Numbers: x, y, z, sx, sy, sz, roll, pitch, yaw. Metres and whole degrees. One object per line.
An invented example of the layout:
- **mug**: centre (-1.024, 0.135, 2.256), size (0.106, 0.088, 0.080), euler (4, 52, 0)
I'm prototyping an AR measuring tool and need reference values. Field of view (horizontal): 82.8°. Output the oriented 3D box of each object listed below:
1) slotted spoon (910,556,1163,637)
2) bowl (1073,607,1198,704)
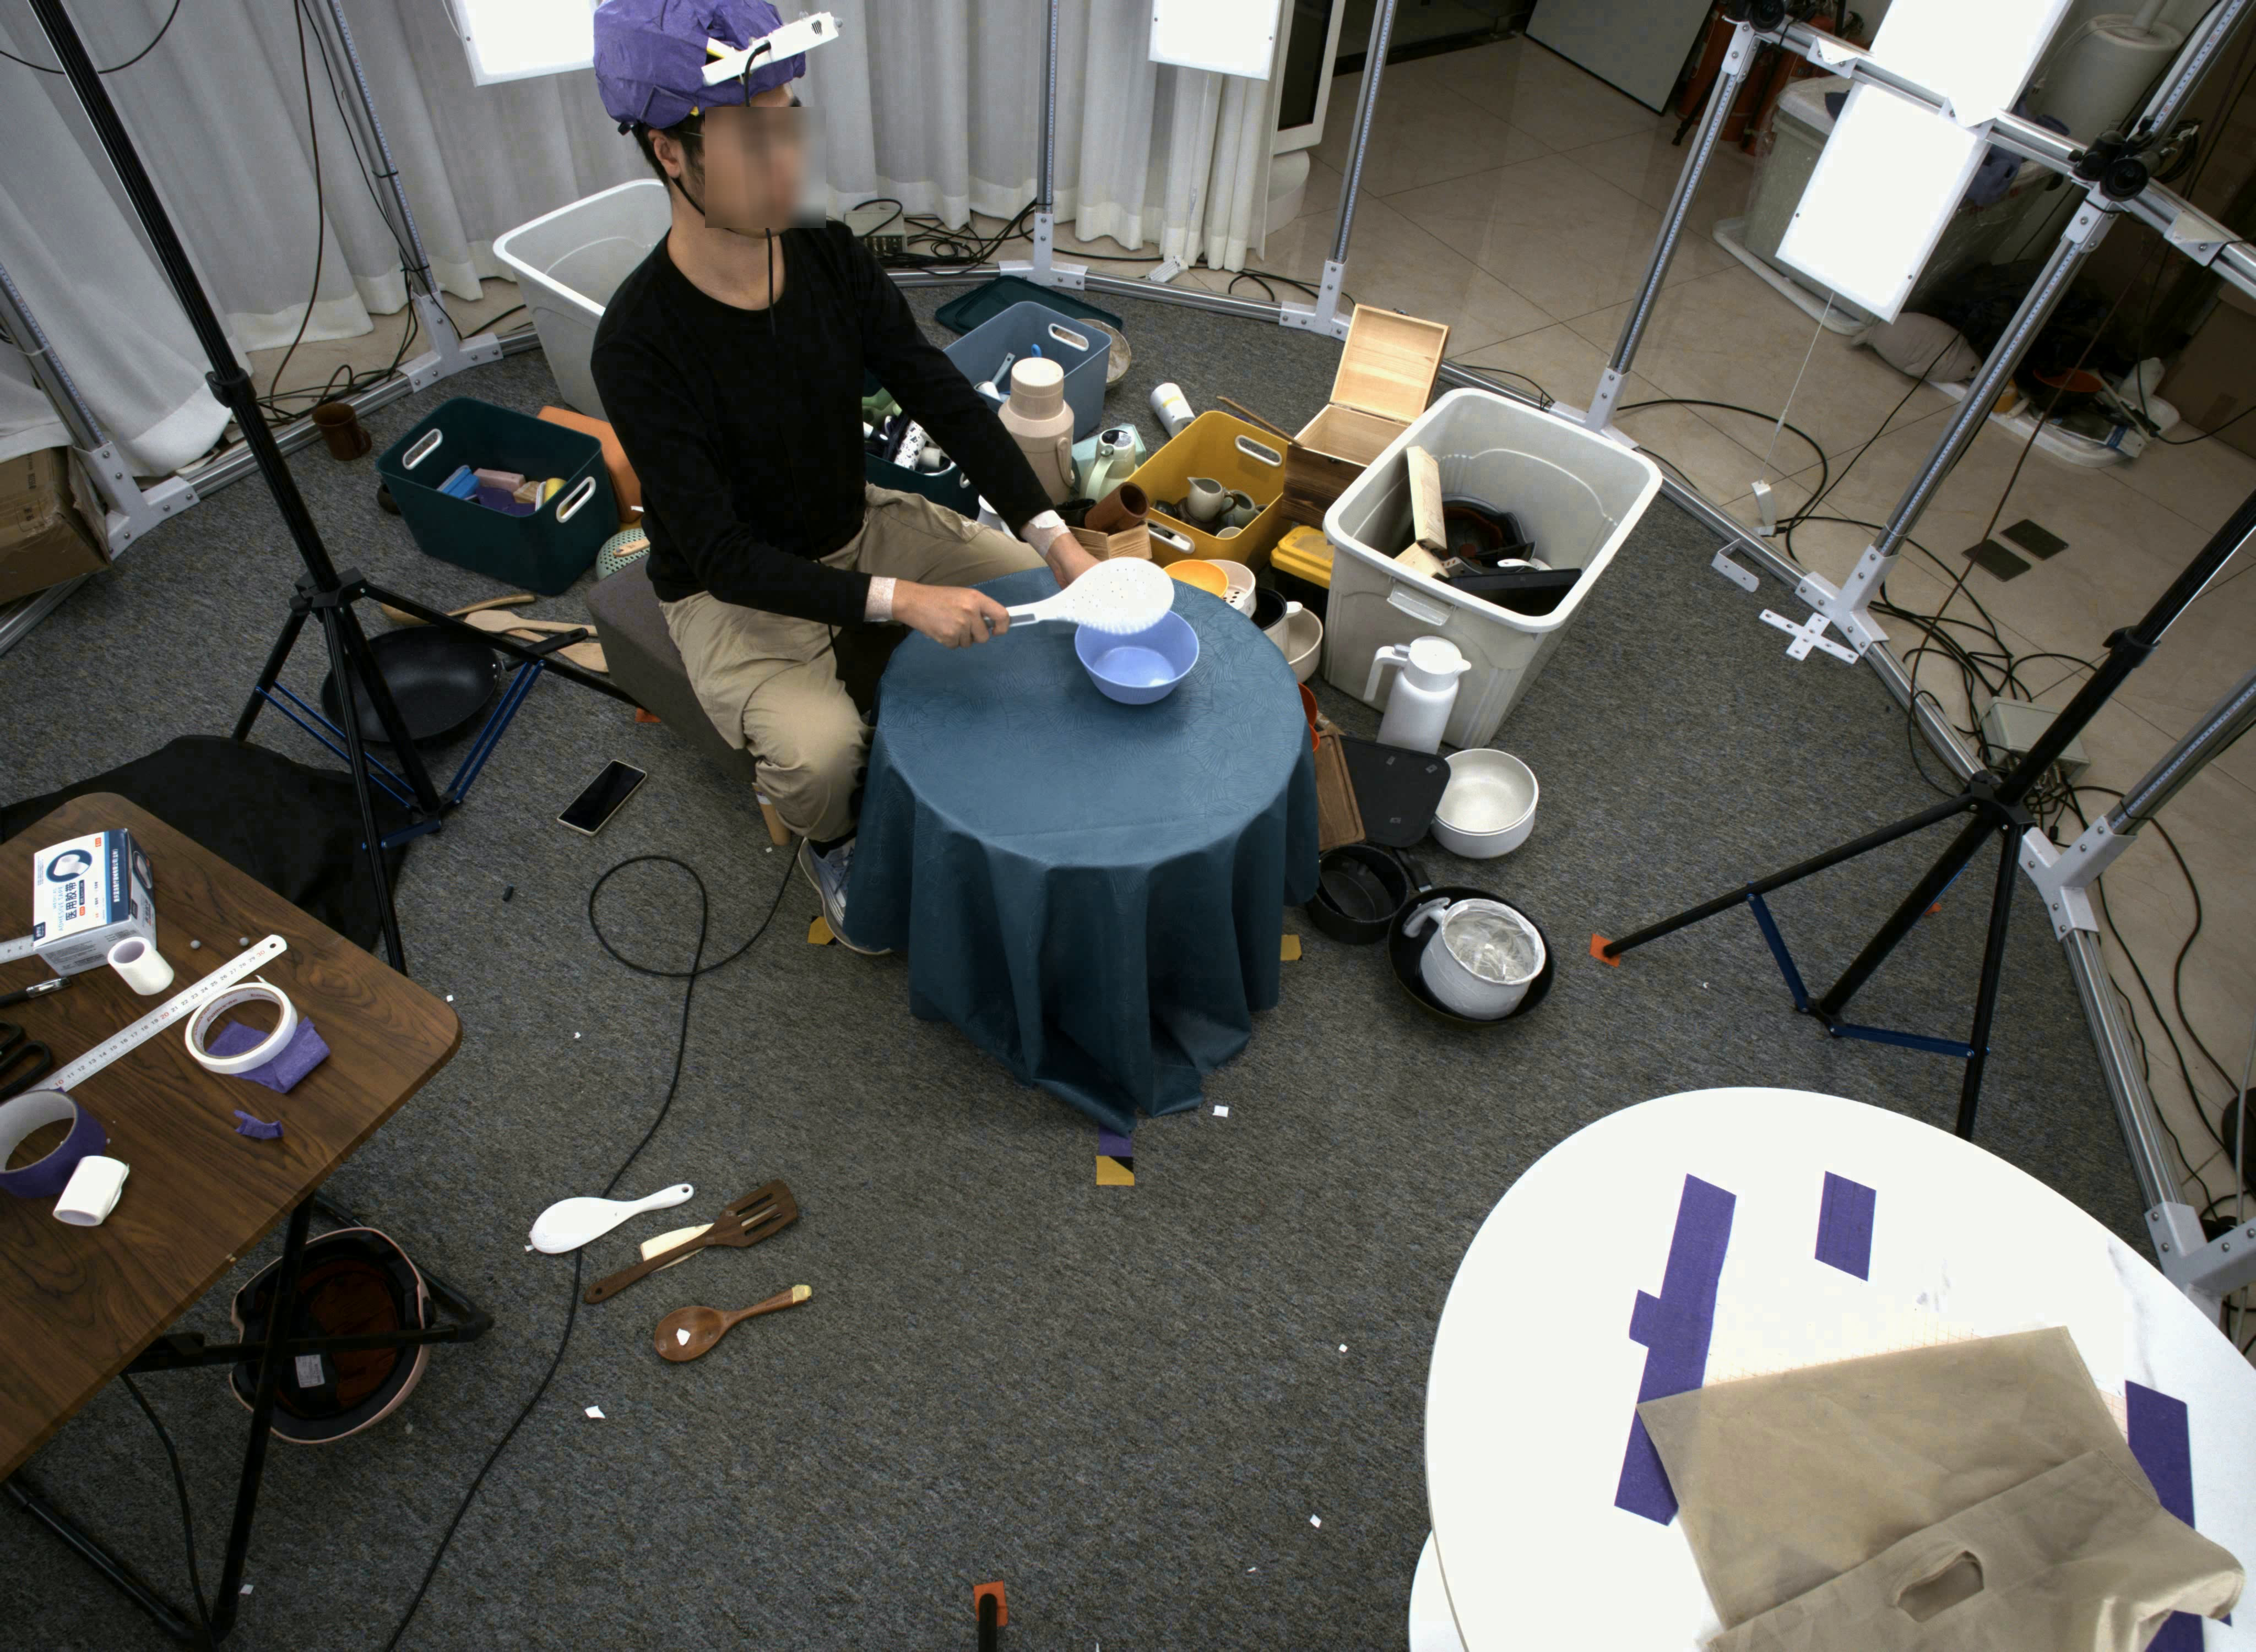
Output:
- **slotted spoon**: centre (-0.126, -0.297, 1.755), size (0.350, 0.133, 0.047), euler (-4, 55, 10)
- **bowl**: centre (0.010, -0.237, 1.831), size (0.176, 0.068, 0.180), euler (1, 48, -2)
